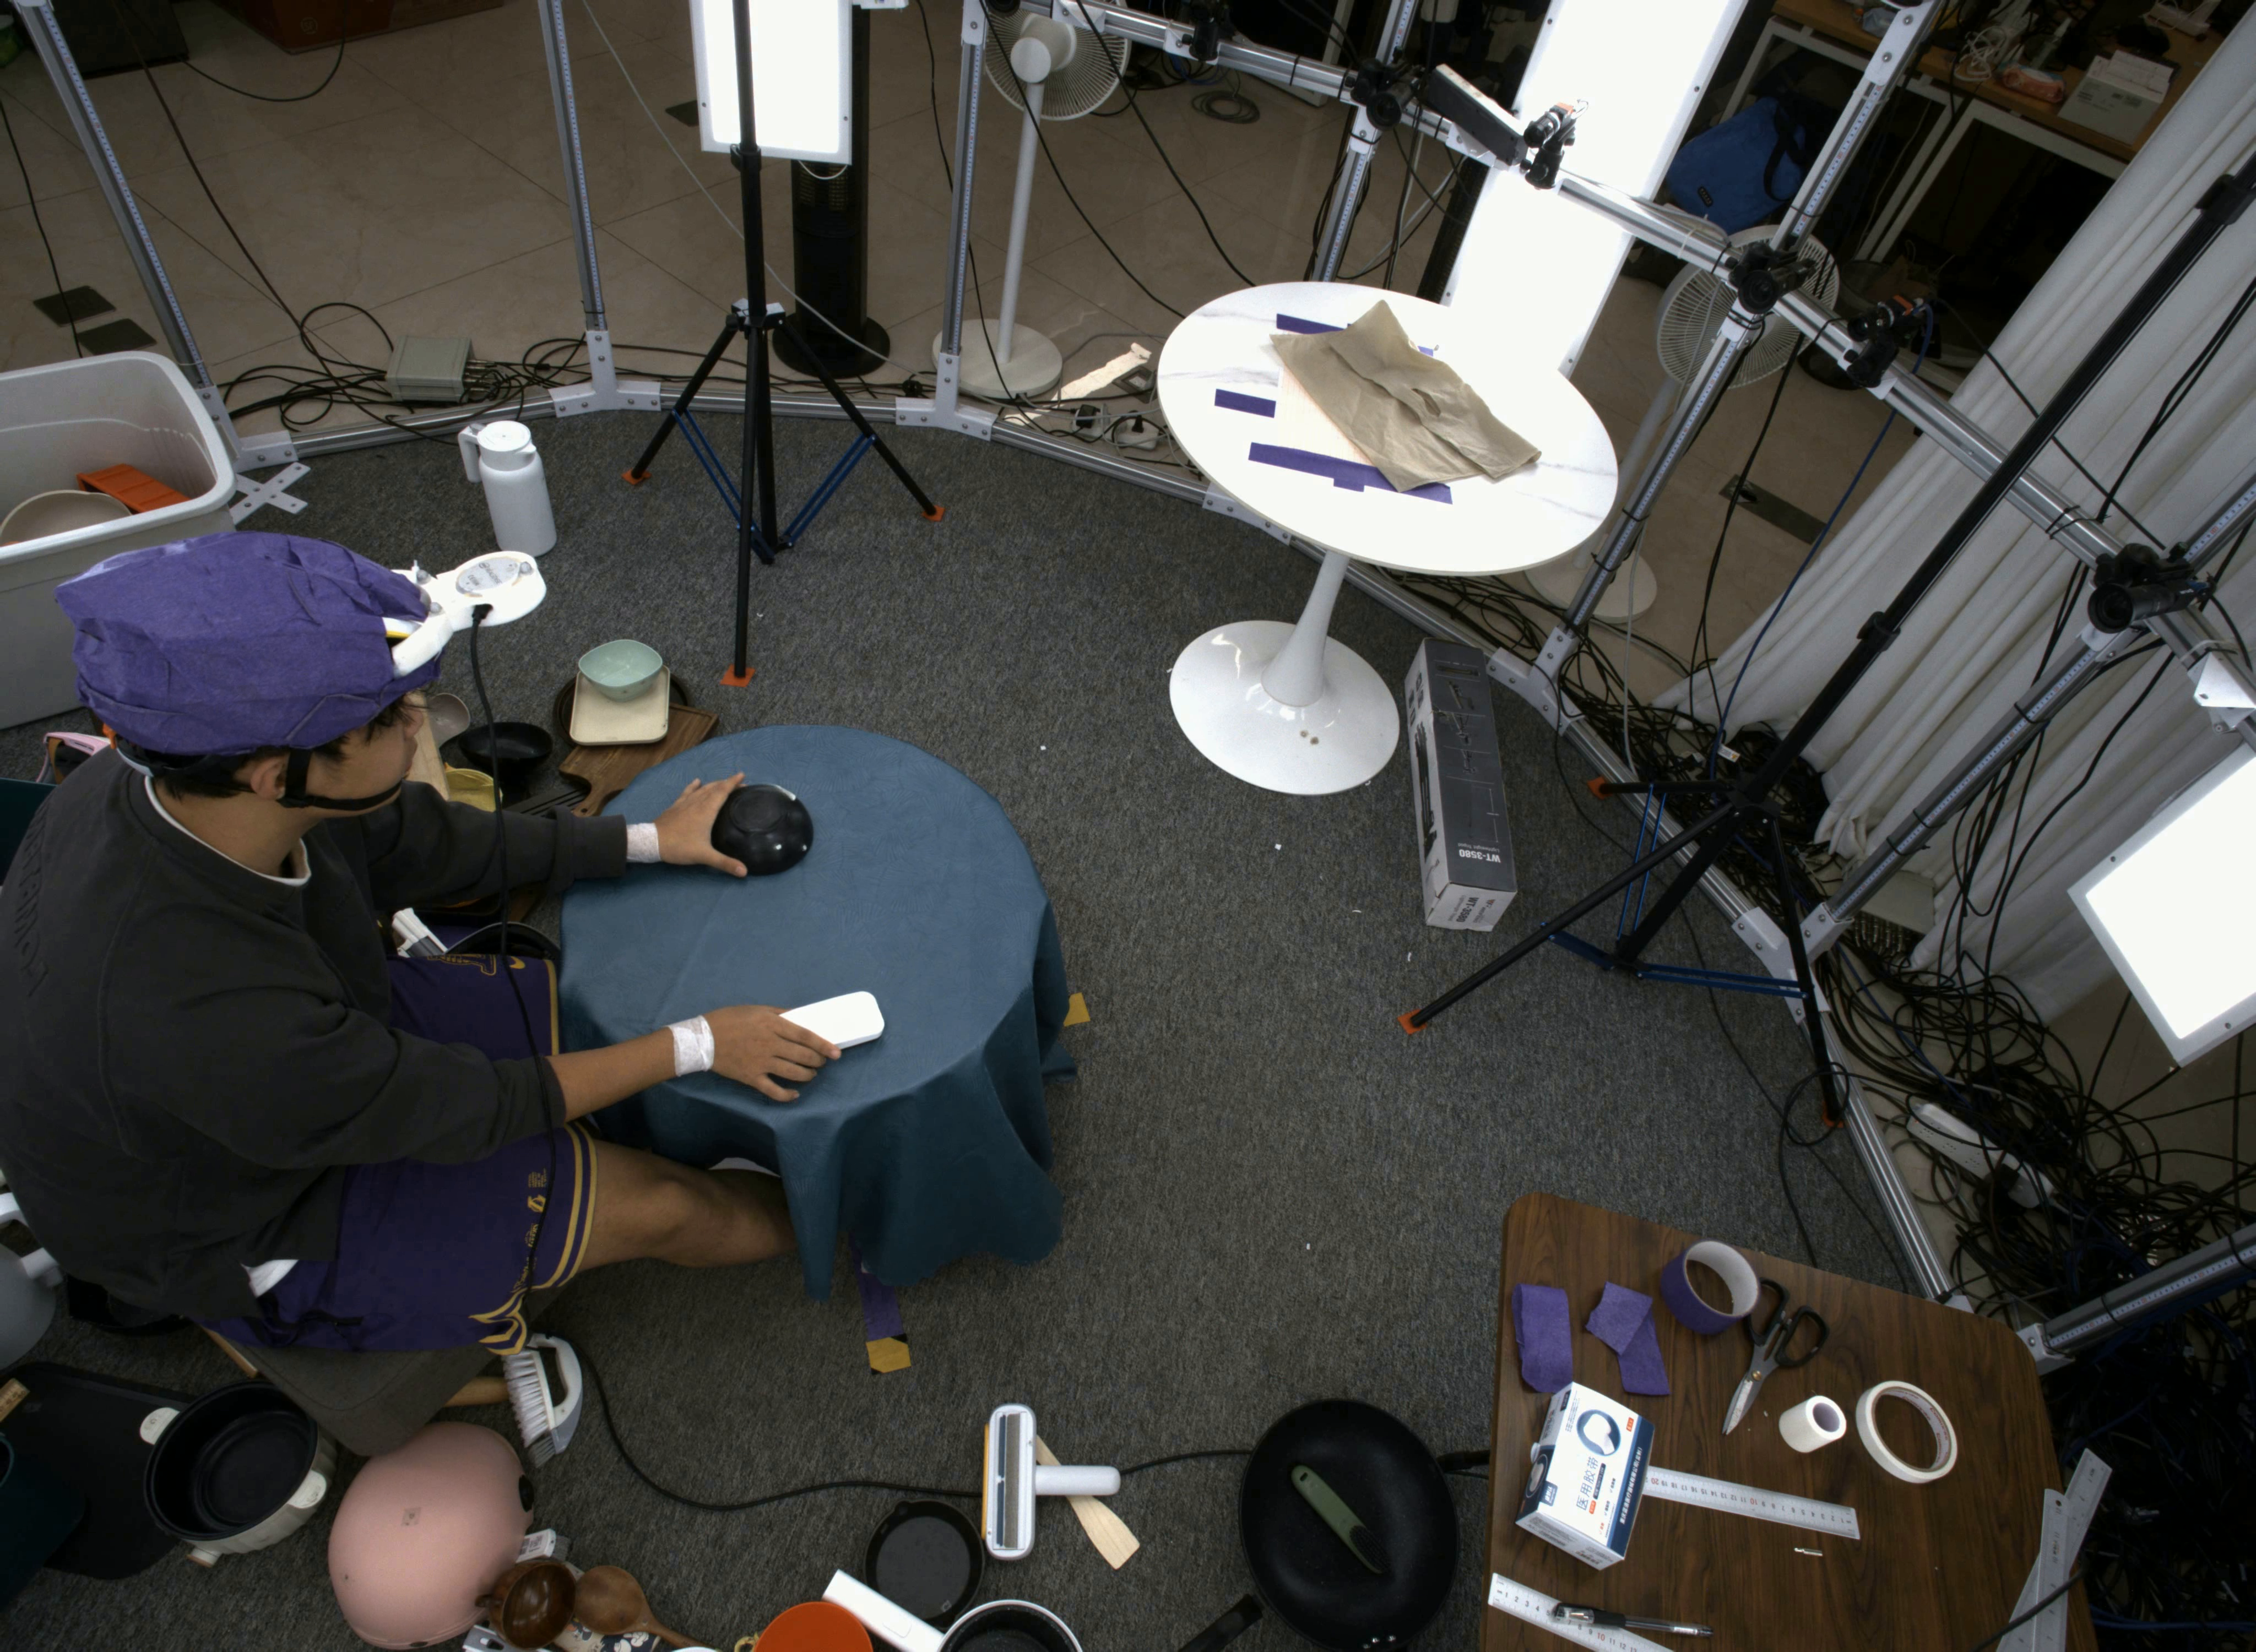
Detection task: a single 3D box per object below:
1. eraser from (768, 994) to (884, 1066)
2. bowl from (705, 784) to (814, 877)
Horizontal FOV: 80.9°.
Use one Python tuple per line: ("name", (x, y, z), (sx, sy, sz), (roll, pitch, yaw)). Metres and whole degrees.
("eraser", (-0.360, 0.238, 1.547), (0.132, 0.035, 0.062), (-12, 55, -24))
("bowl", (-0.481, -0.006, 1.685), (0.140, 0.050, 0.137), (9, 53, -10))
